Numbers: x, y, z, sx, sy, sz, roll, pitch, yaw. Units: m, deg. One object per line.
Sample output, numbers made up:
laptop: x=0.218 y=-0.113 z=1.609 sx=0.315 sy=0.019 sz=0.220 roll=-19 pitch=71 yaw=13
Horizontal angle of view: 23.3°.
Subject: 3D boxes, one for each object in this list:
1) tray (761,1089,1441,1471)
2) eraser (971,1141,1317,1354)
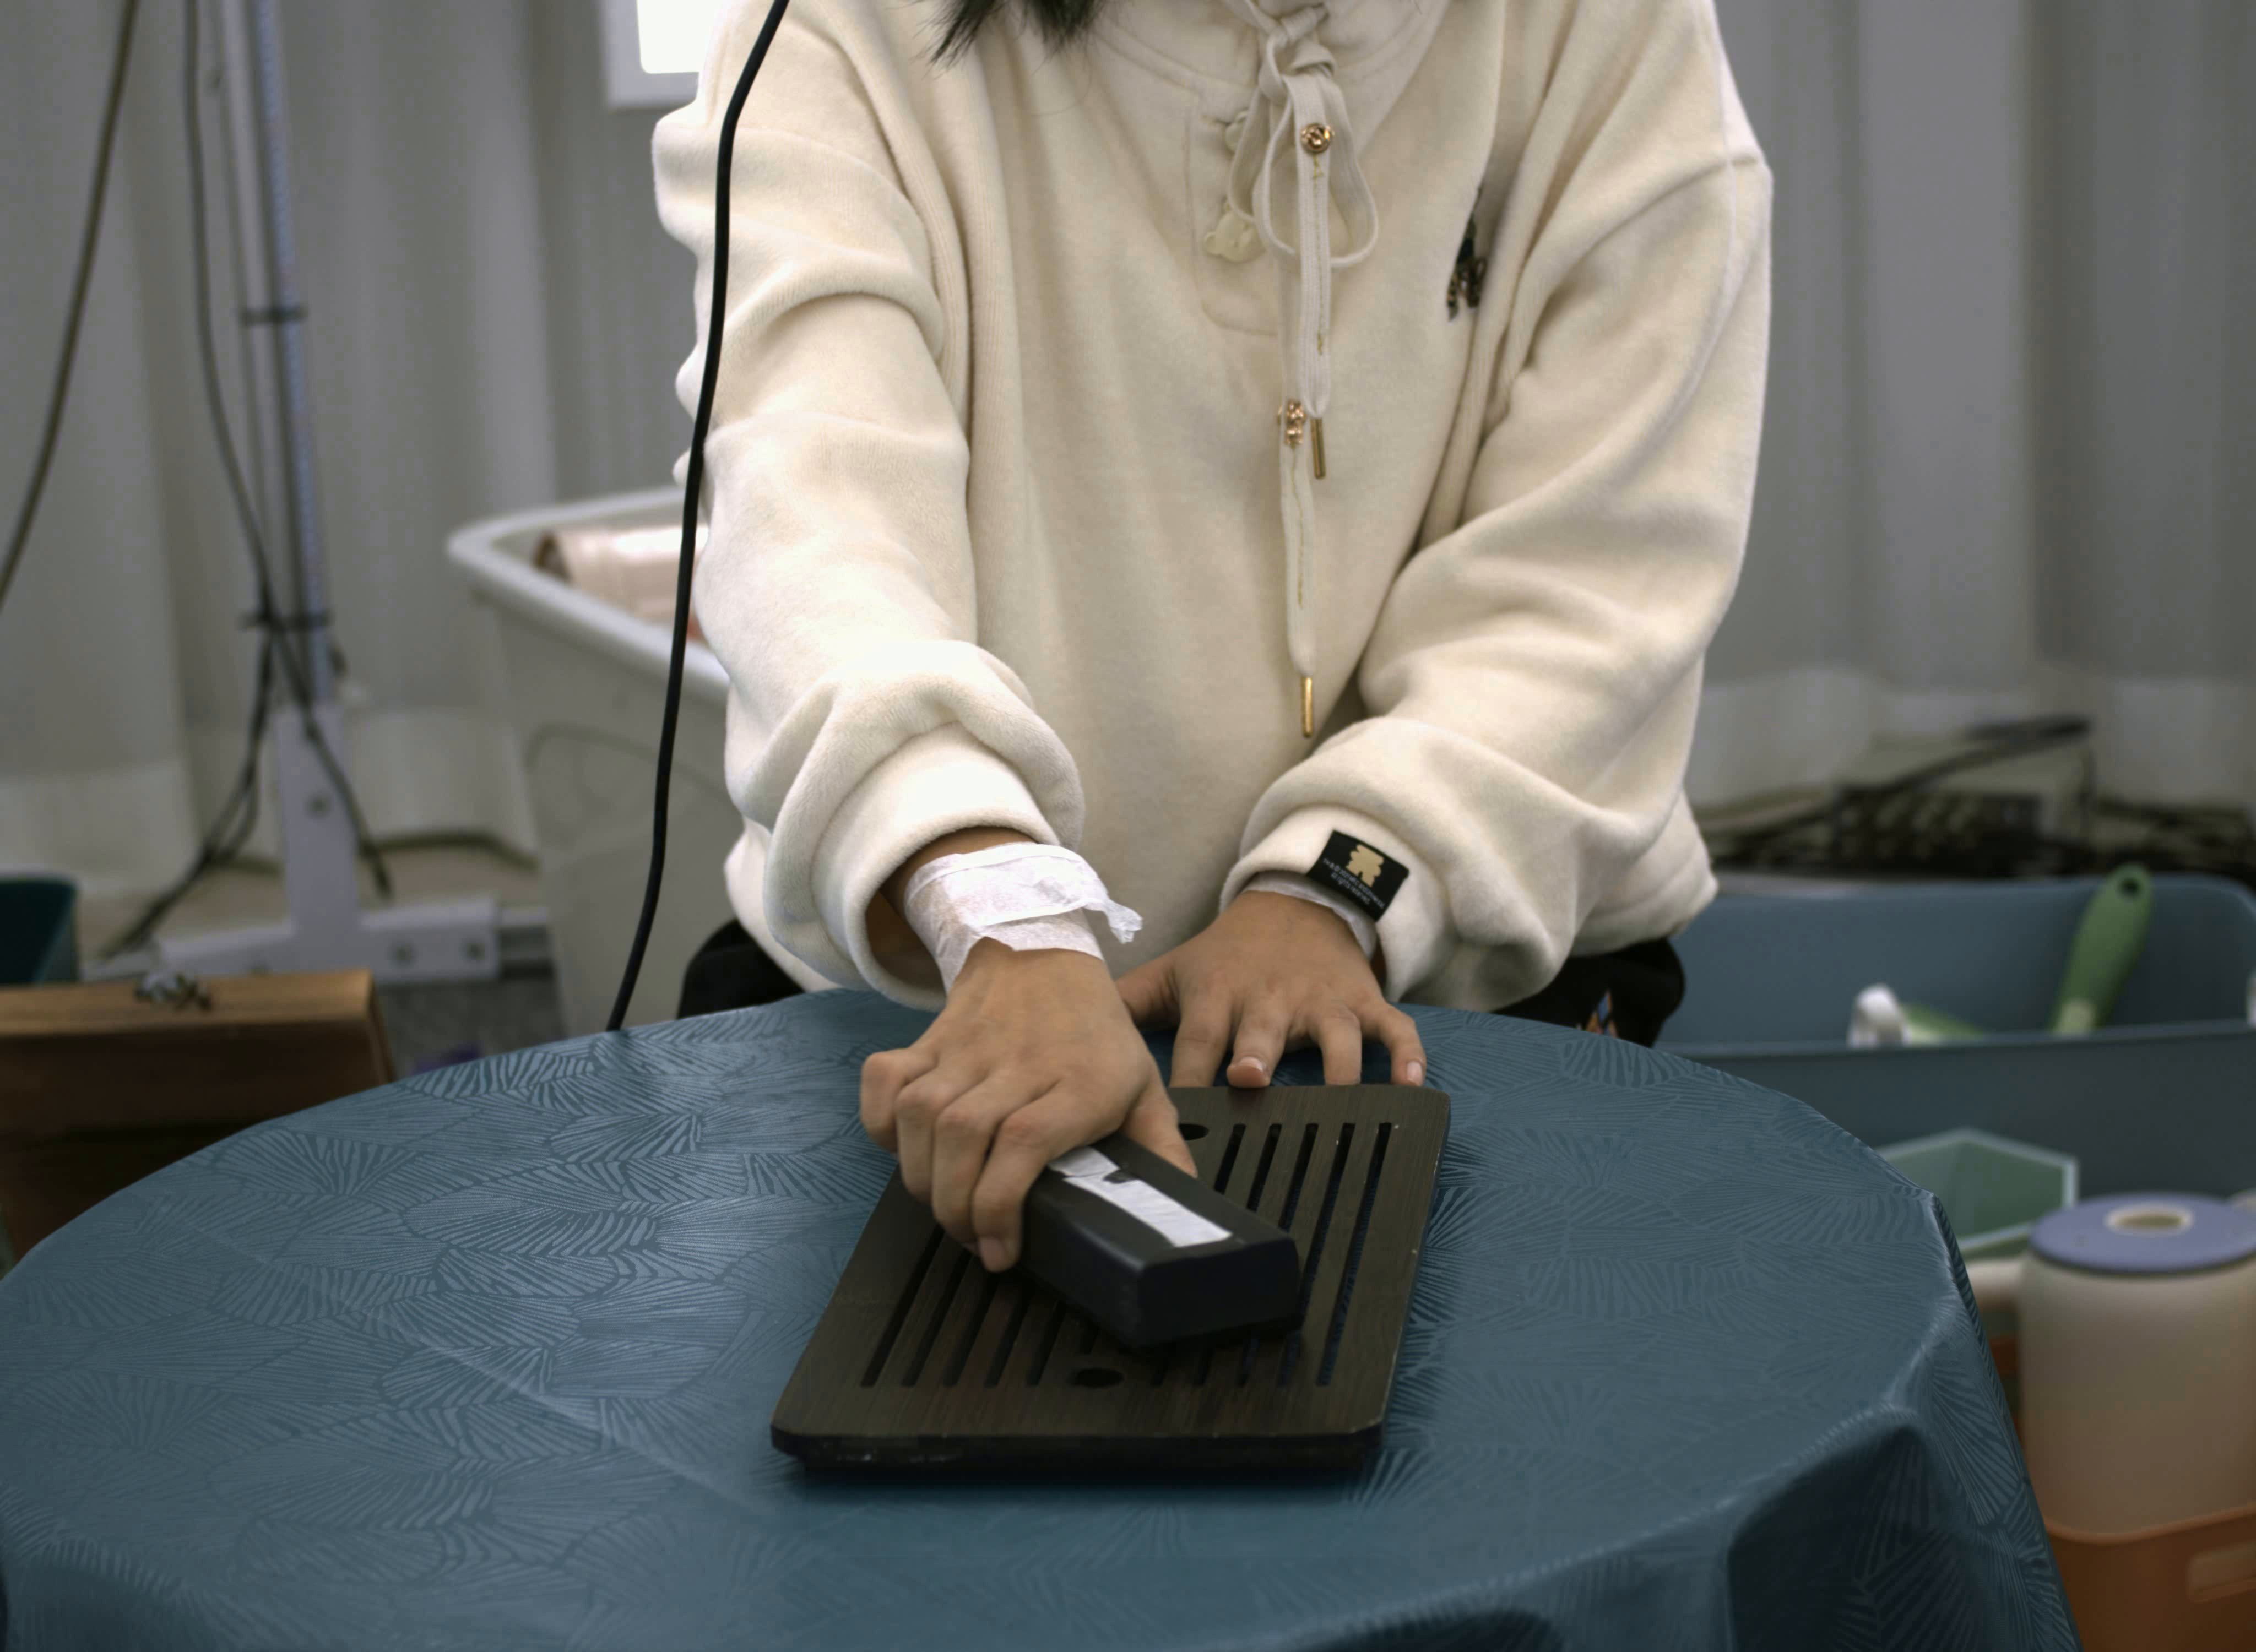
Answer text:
tray: x=0.000 y=0.132 z=1.614 sx=0.170 sy=0.018 sz=0.307 roll=-1 pitch=15 yaw=7
eraser: x=0.004 y=0.120 z=1.576 sx=0.053 sy=0.030 sz=0.126 roll=-5 pitch=13 yaw=-25
